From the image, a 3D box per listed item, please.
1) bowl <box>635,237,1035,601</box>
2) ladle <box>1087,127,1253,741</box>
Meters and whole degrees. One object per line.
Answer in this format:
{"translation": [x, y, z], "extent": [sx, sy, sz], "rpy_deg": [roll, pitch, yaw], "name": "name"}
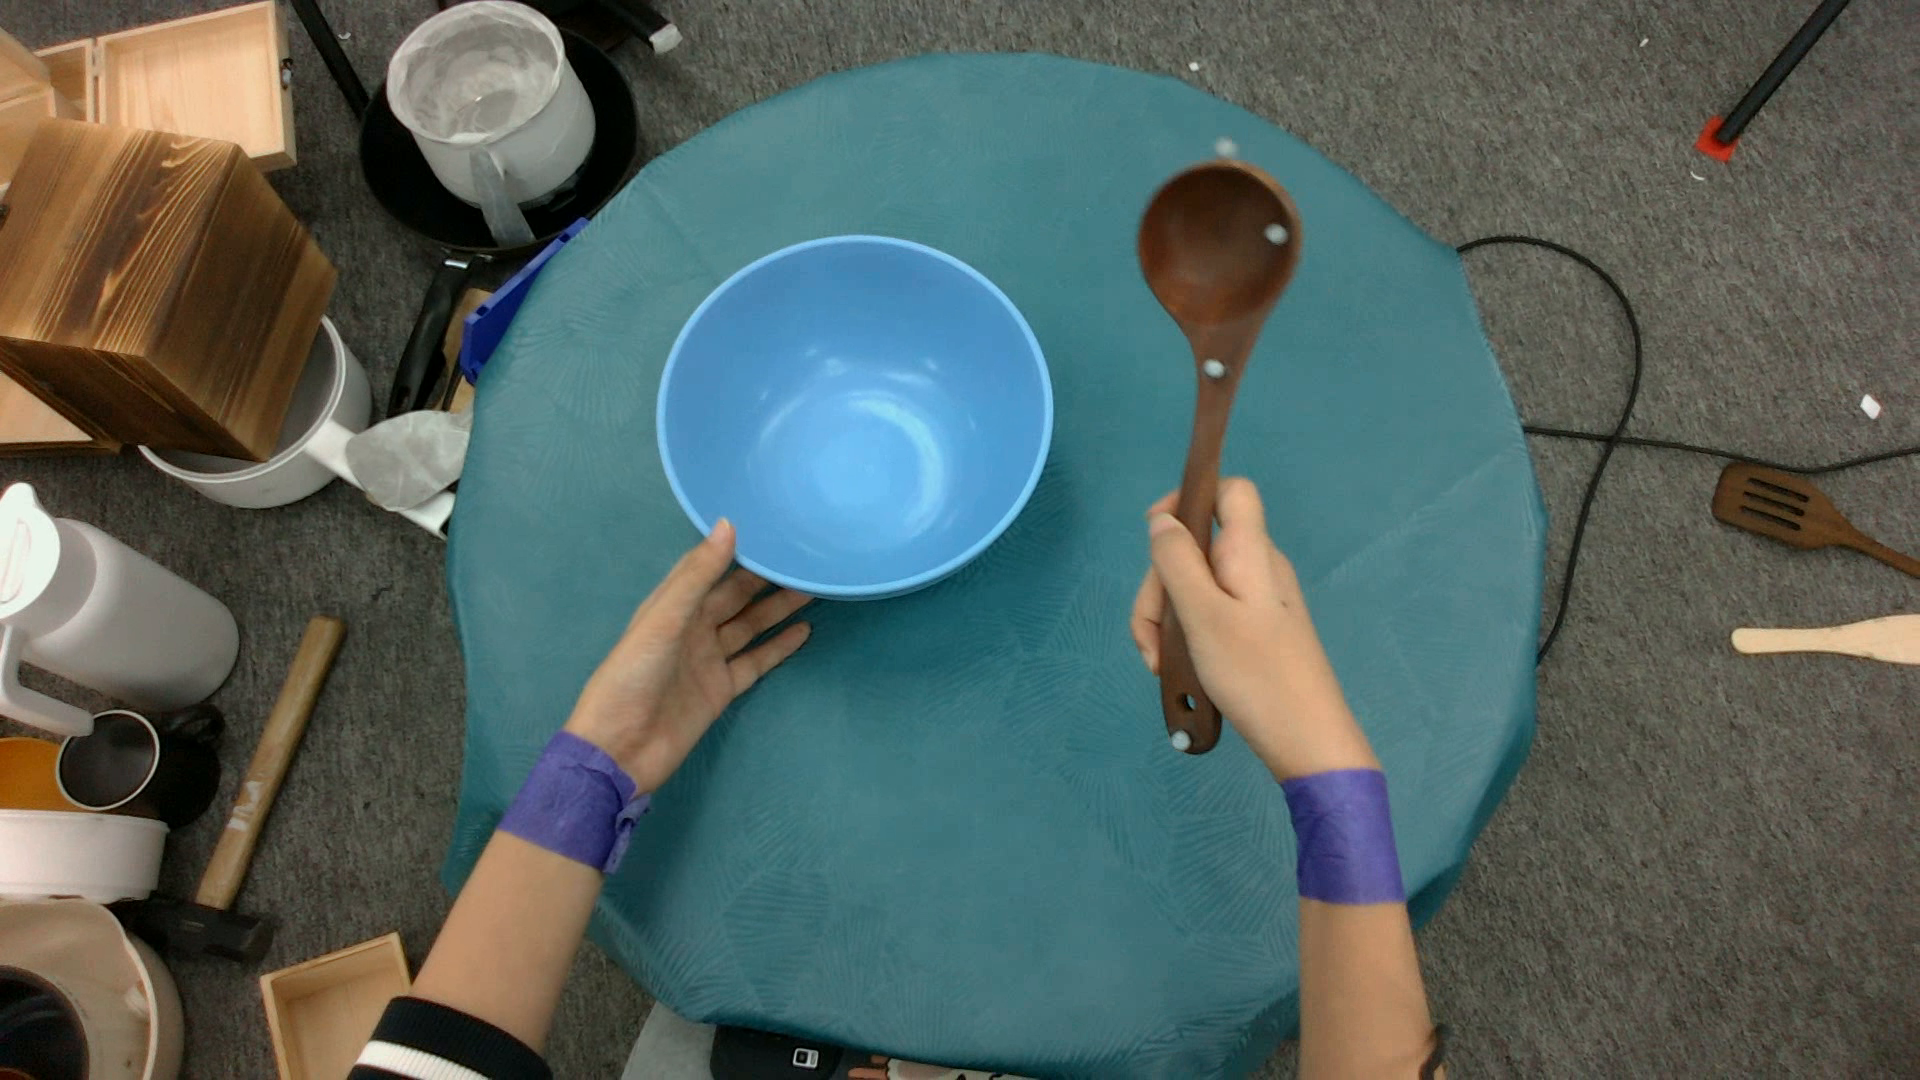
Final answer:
{"translation": [-0.065, -0.050, 0.718], "extent": [0.196, 0.095, 0.197], "rpy_deg": [3, 67, -6], "name": "bowl"}
{"translation": [0.085, -0.048, 0.585], "extent": [0.076, 0.065, 0.260], "rpy_deg": [-6, 74, 41], "name": "ladle"}
